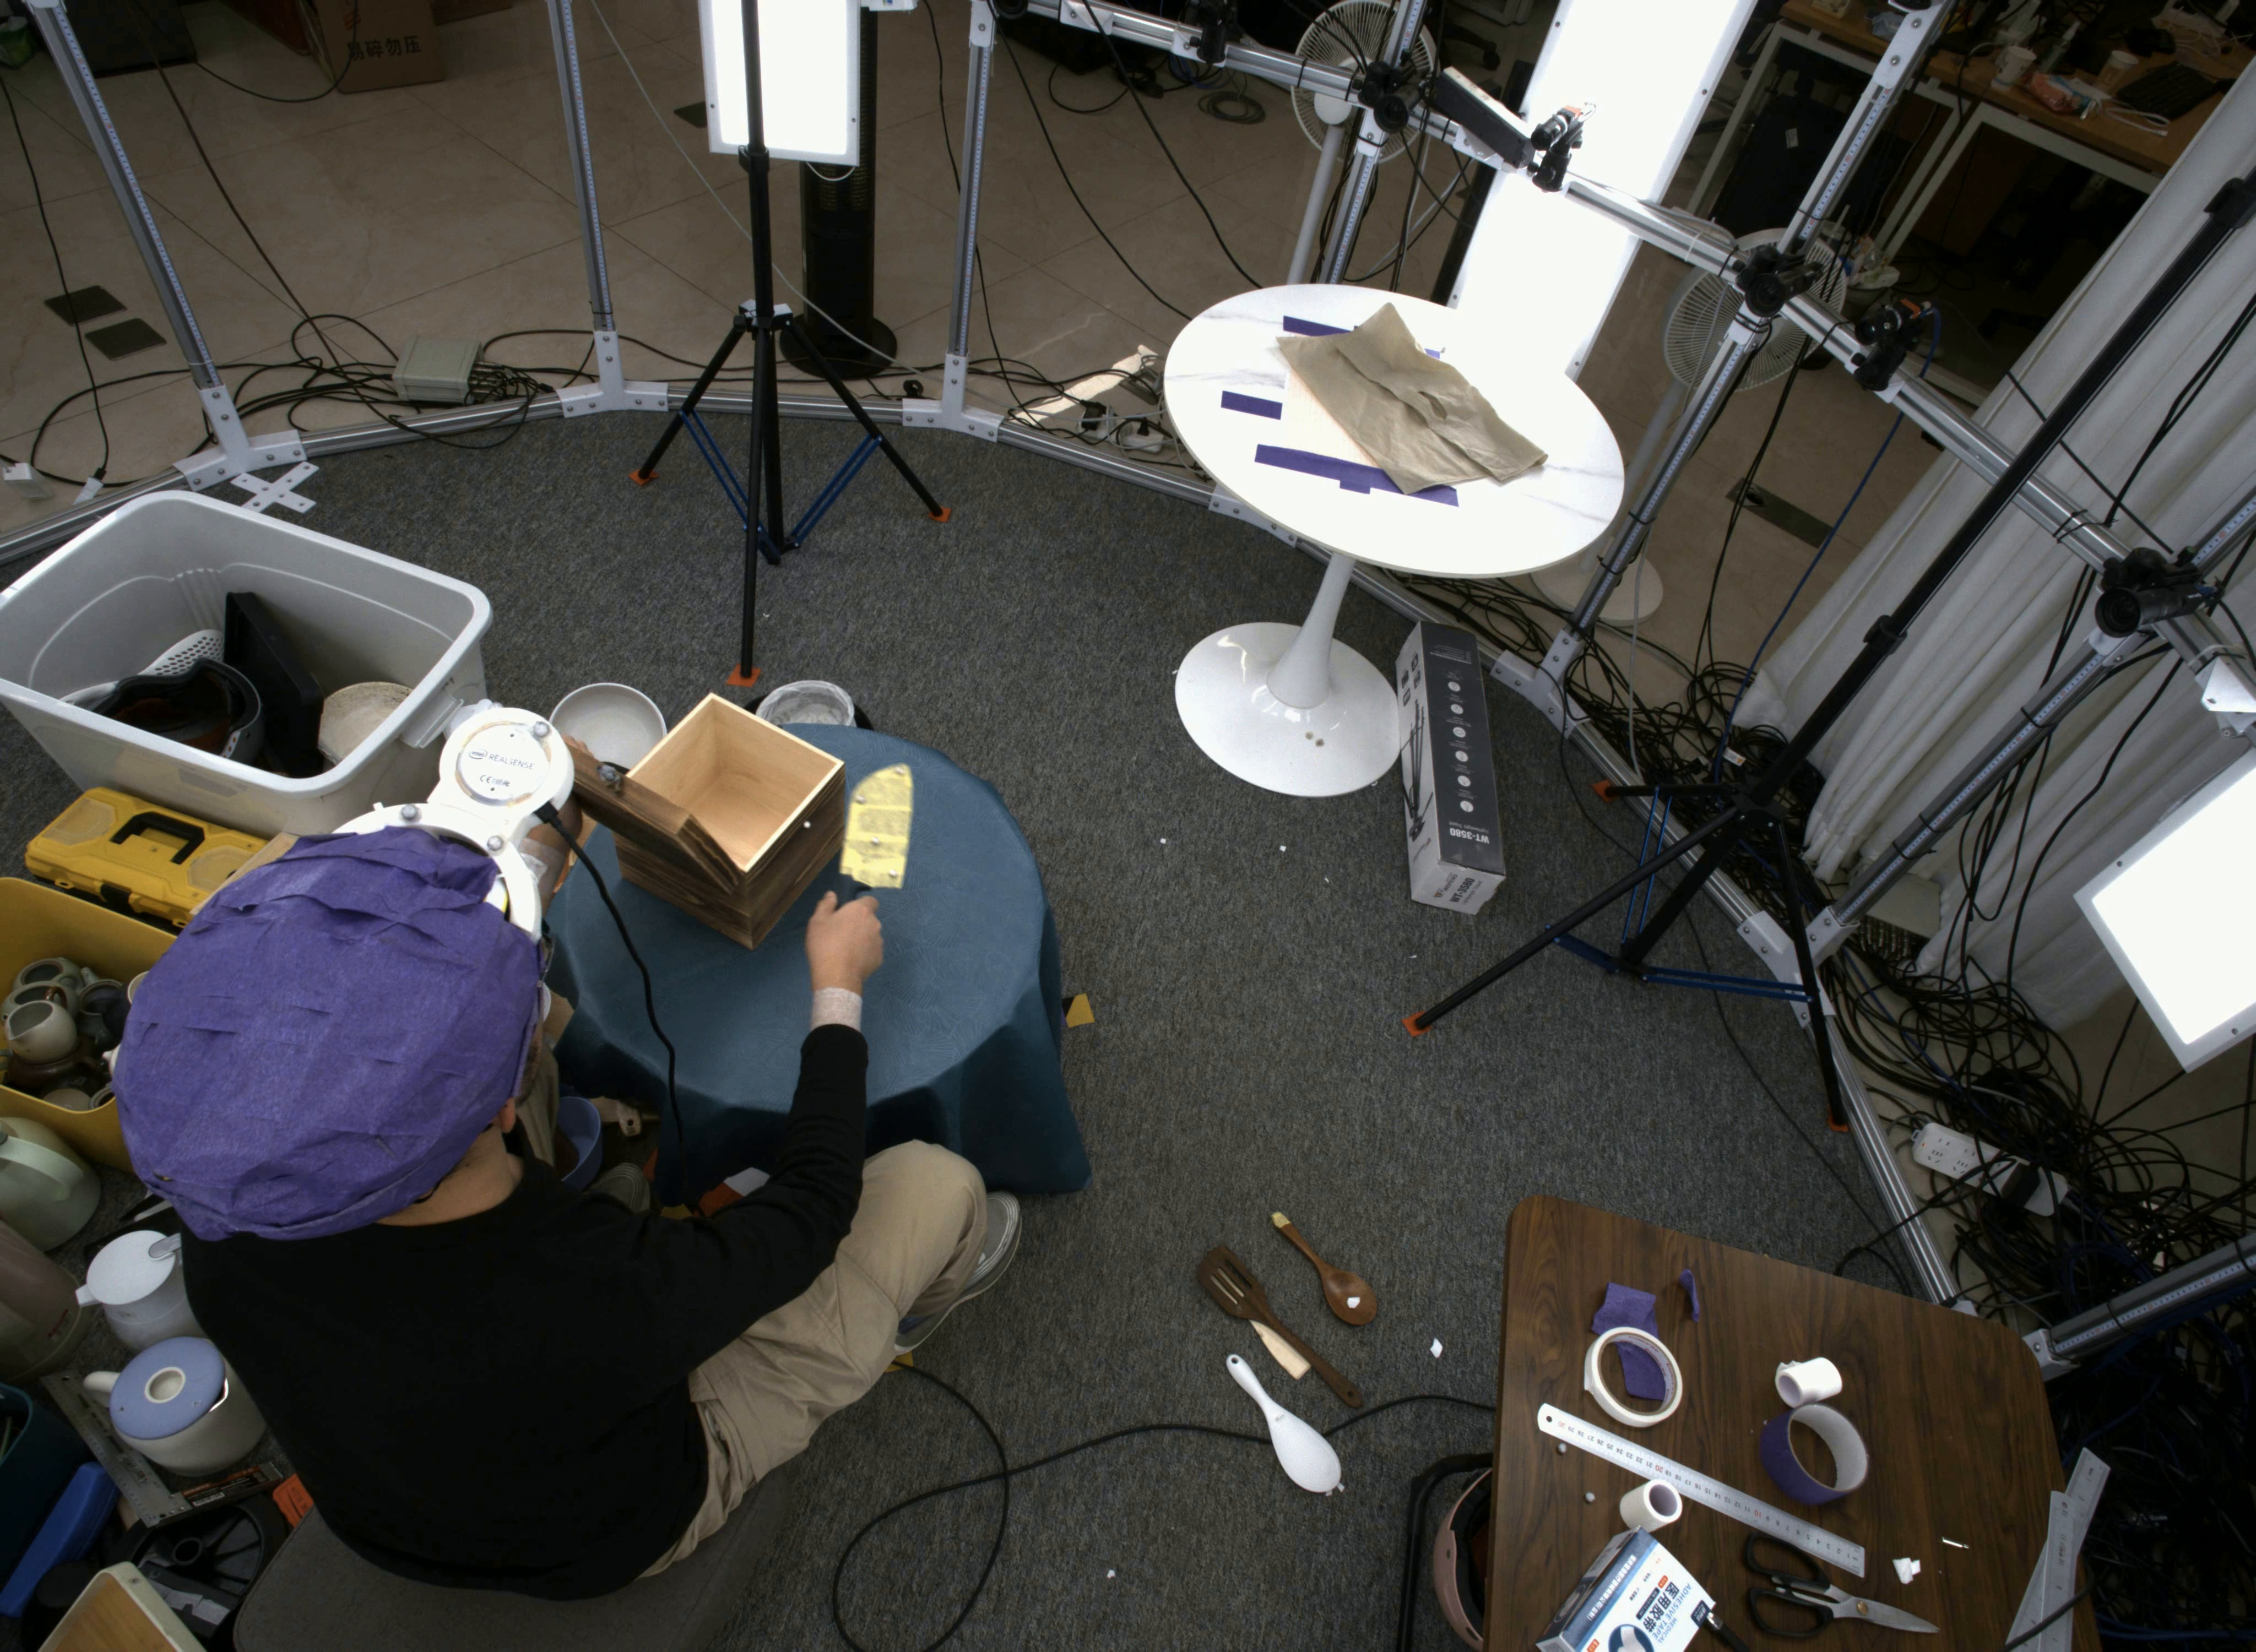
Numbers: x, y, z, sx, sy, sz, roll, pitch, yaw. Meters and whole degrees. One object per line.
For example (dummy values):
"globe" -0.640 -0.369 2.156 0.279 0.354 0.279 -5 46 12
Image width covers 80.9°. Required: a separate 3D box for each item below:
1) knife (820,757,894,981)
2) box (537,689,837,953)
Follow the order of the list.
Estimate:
"knife" -0.312 0.042 1.496 0.080 0.028 0.286 4 62 -1
"box" -0.505 -0.033 1.489 0.206 0.383 0.320 26 52 8
